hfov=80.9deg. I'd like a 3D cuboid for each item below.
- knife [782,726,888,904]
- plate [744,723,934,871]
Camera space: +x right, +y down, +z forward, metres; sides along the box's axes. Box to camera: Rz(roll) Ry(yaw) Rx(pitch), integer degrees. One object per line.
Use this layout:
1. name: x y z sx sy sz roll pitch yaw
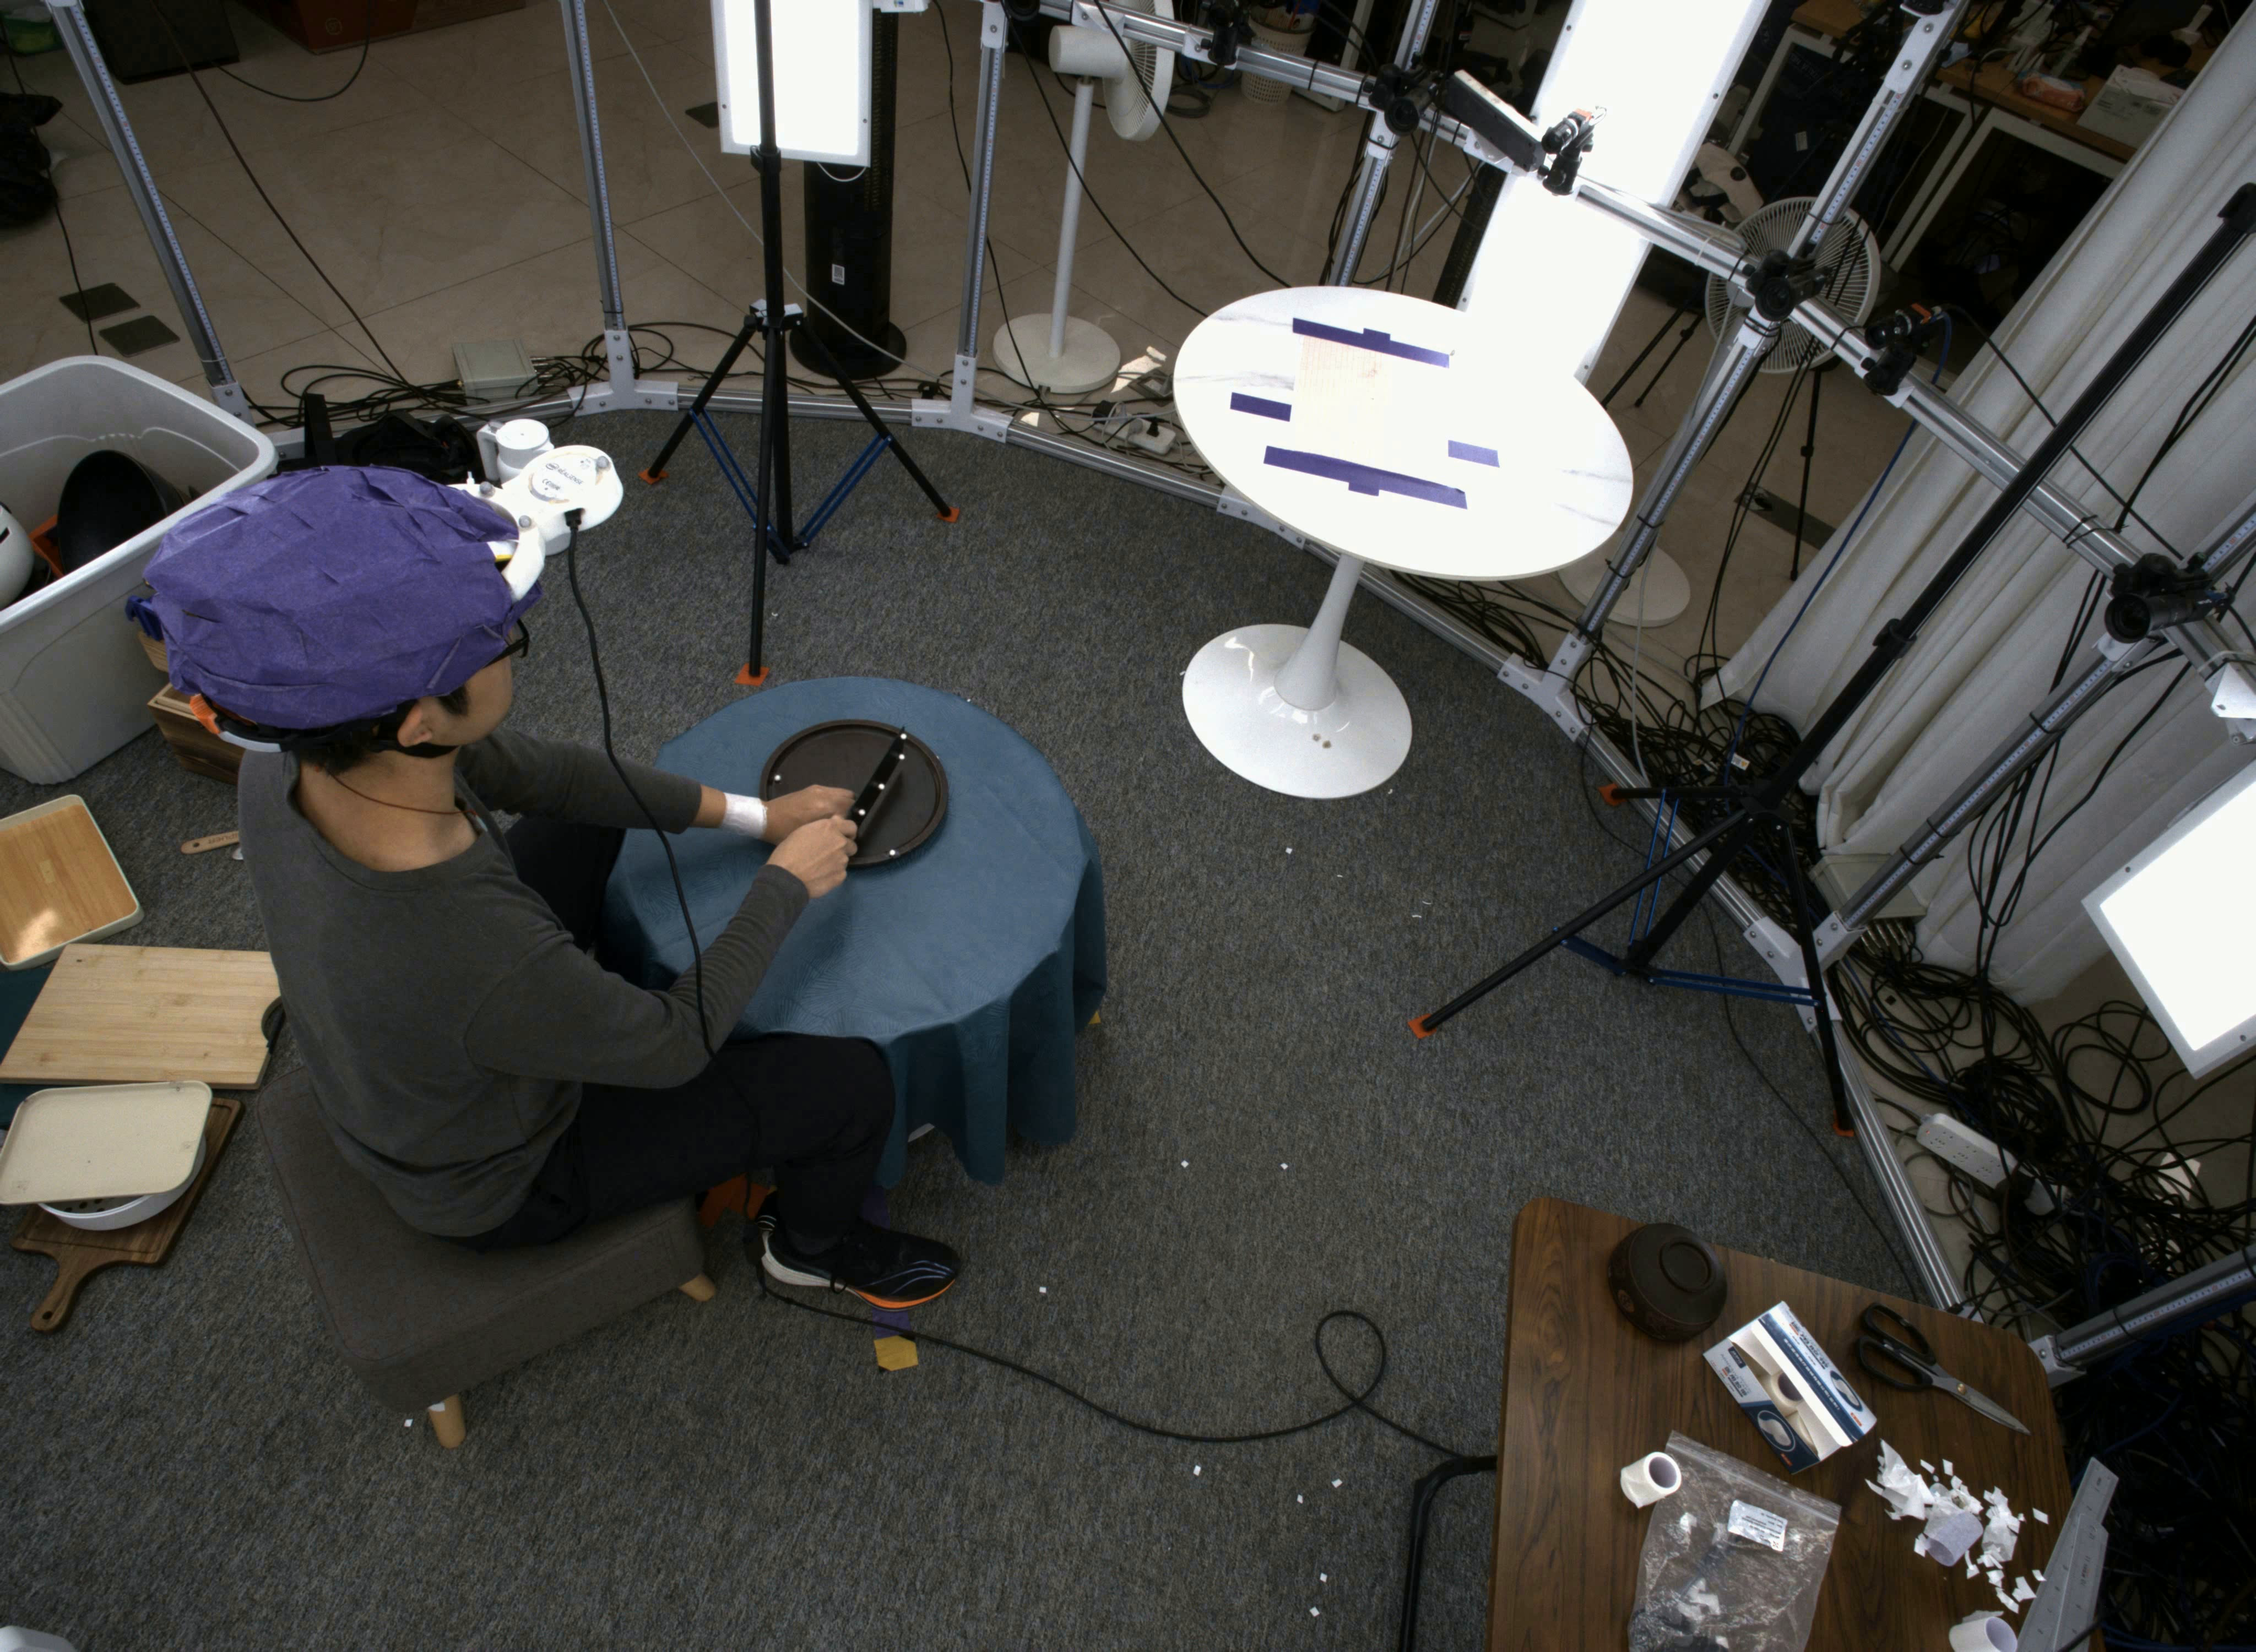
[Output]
1. knife: -0.370 -0.014 1.671 0.020 0.083 0.299 18 45 5
2. plate: -0.390 -0.042 1.760 0.254 0.029 0.250 8 53 -9
